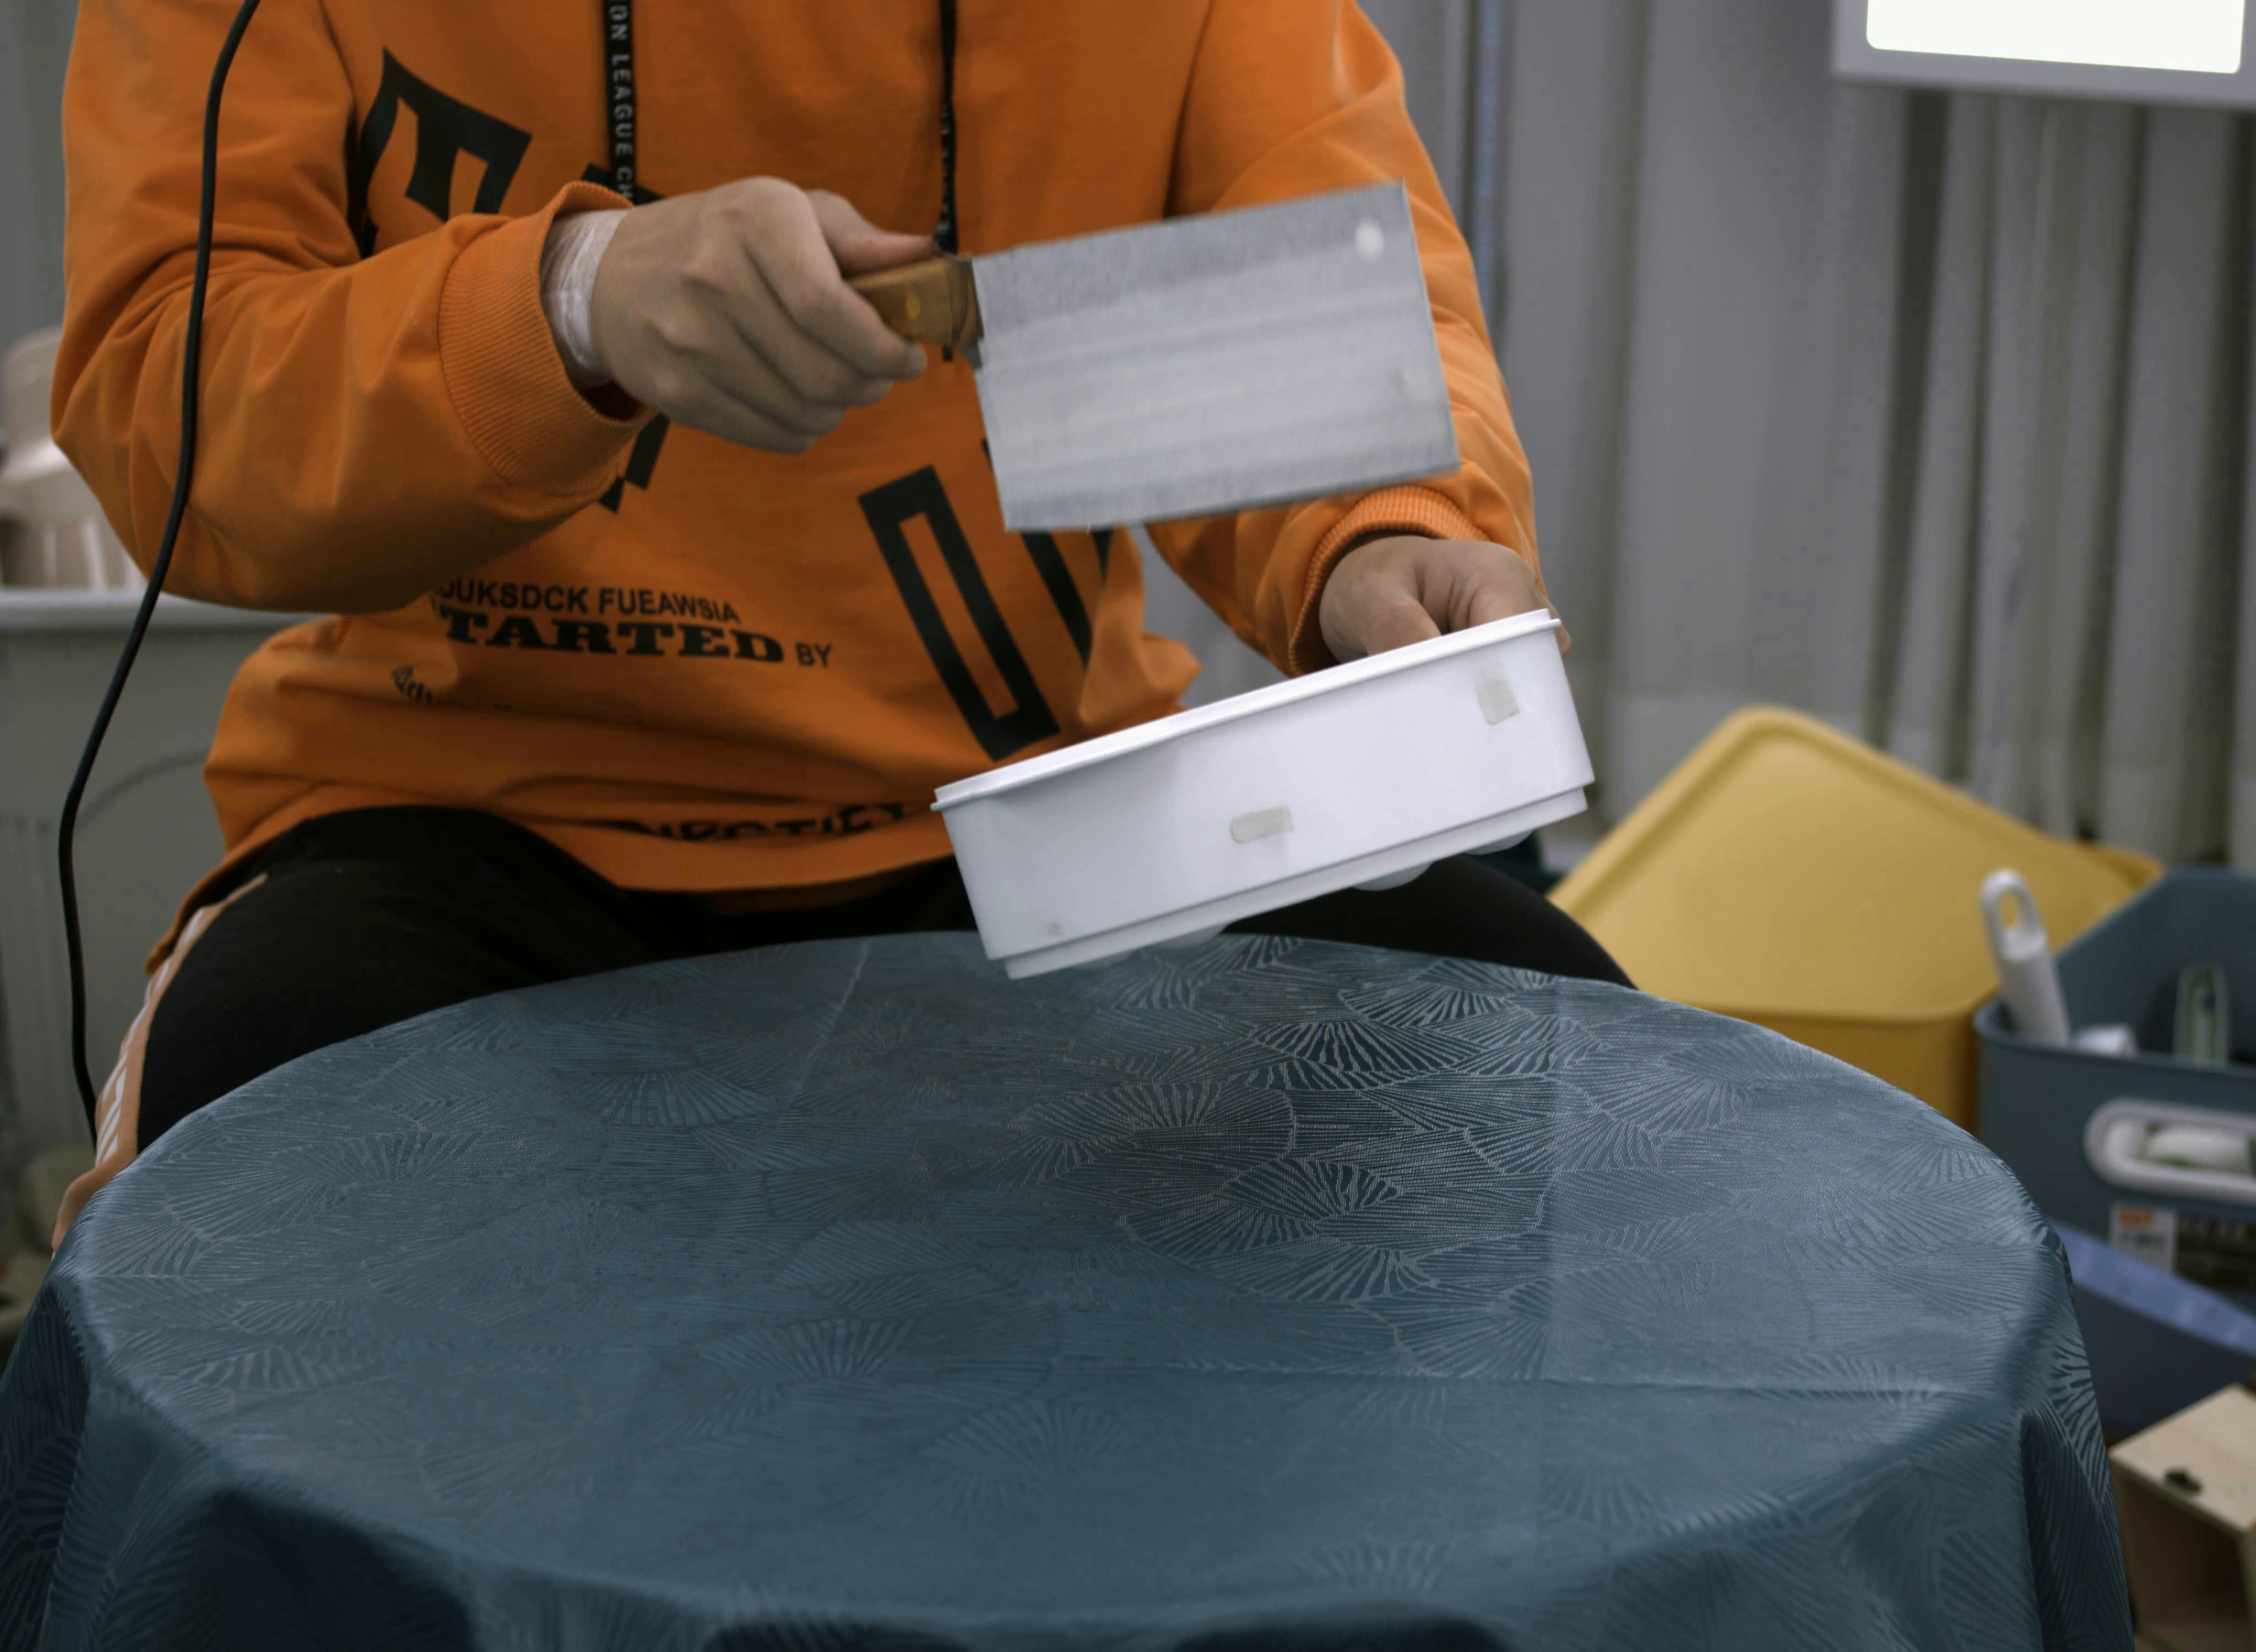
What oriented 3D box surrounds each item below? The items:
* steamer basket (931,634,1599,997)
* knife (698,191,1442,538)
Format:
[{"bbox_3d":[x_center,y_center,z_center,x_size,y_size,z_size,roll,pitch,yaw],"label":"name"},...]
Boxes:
[{"bbox_3d":[0.044,-0.001,1.600,0.200,0.069,0.231,-13,4,34],"label":"steamer basket"},{"bbox_3d":[-0.022,-0.138,1.660,0.302,0.093,0.021,-4,14,43],"label":"knife"}]
